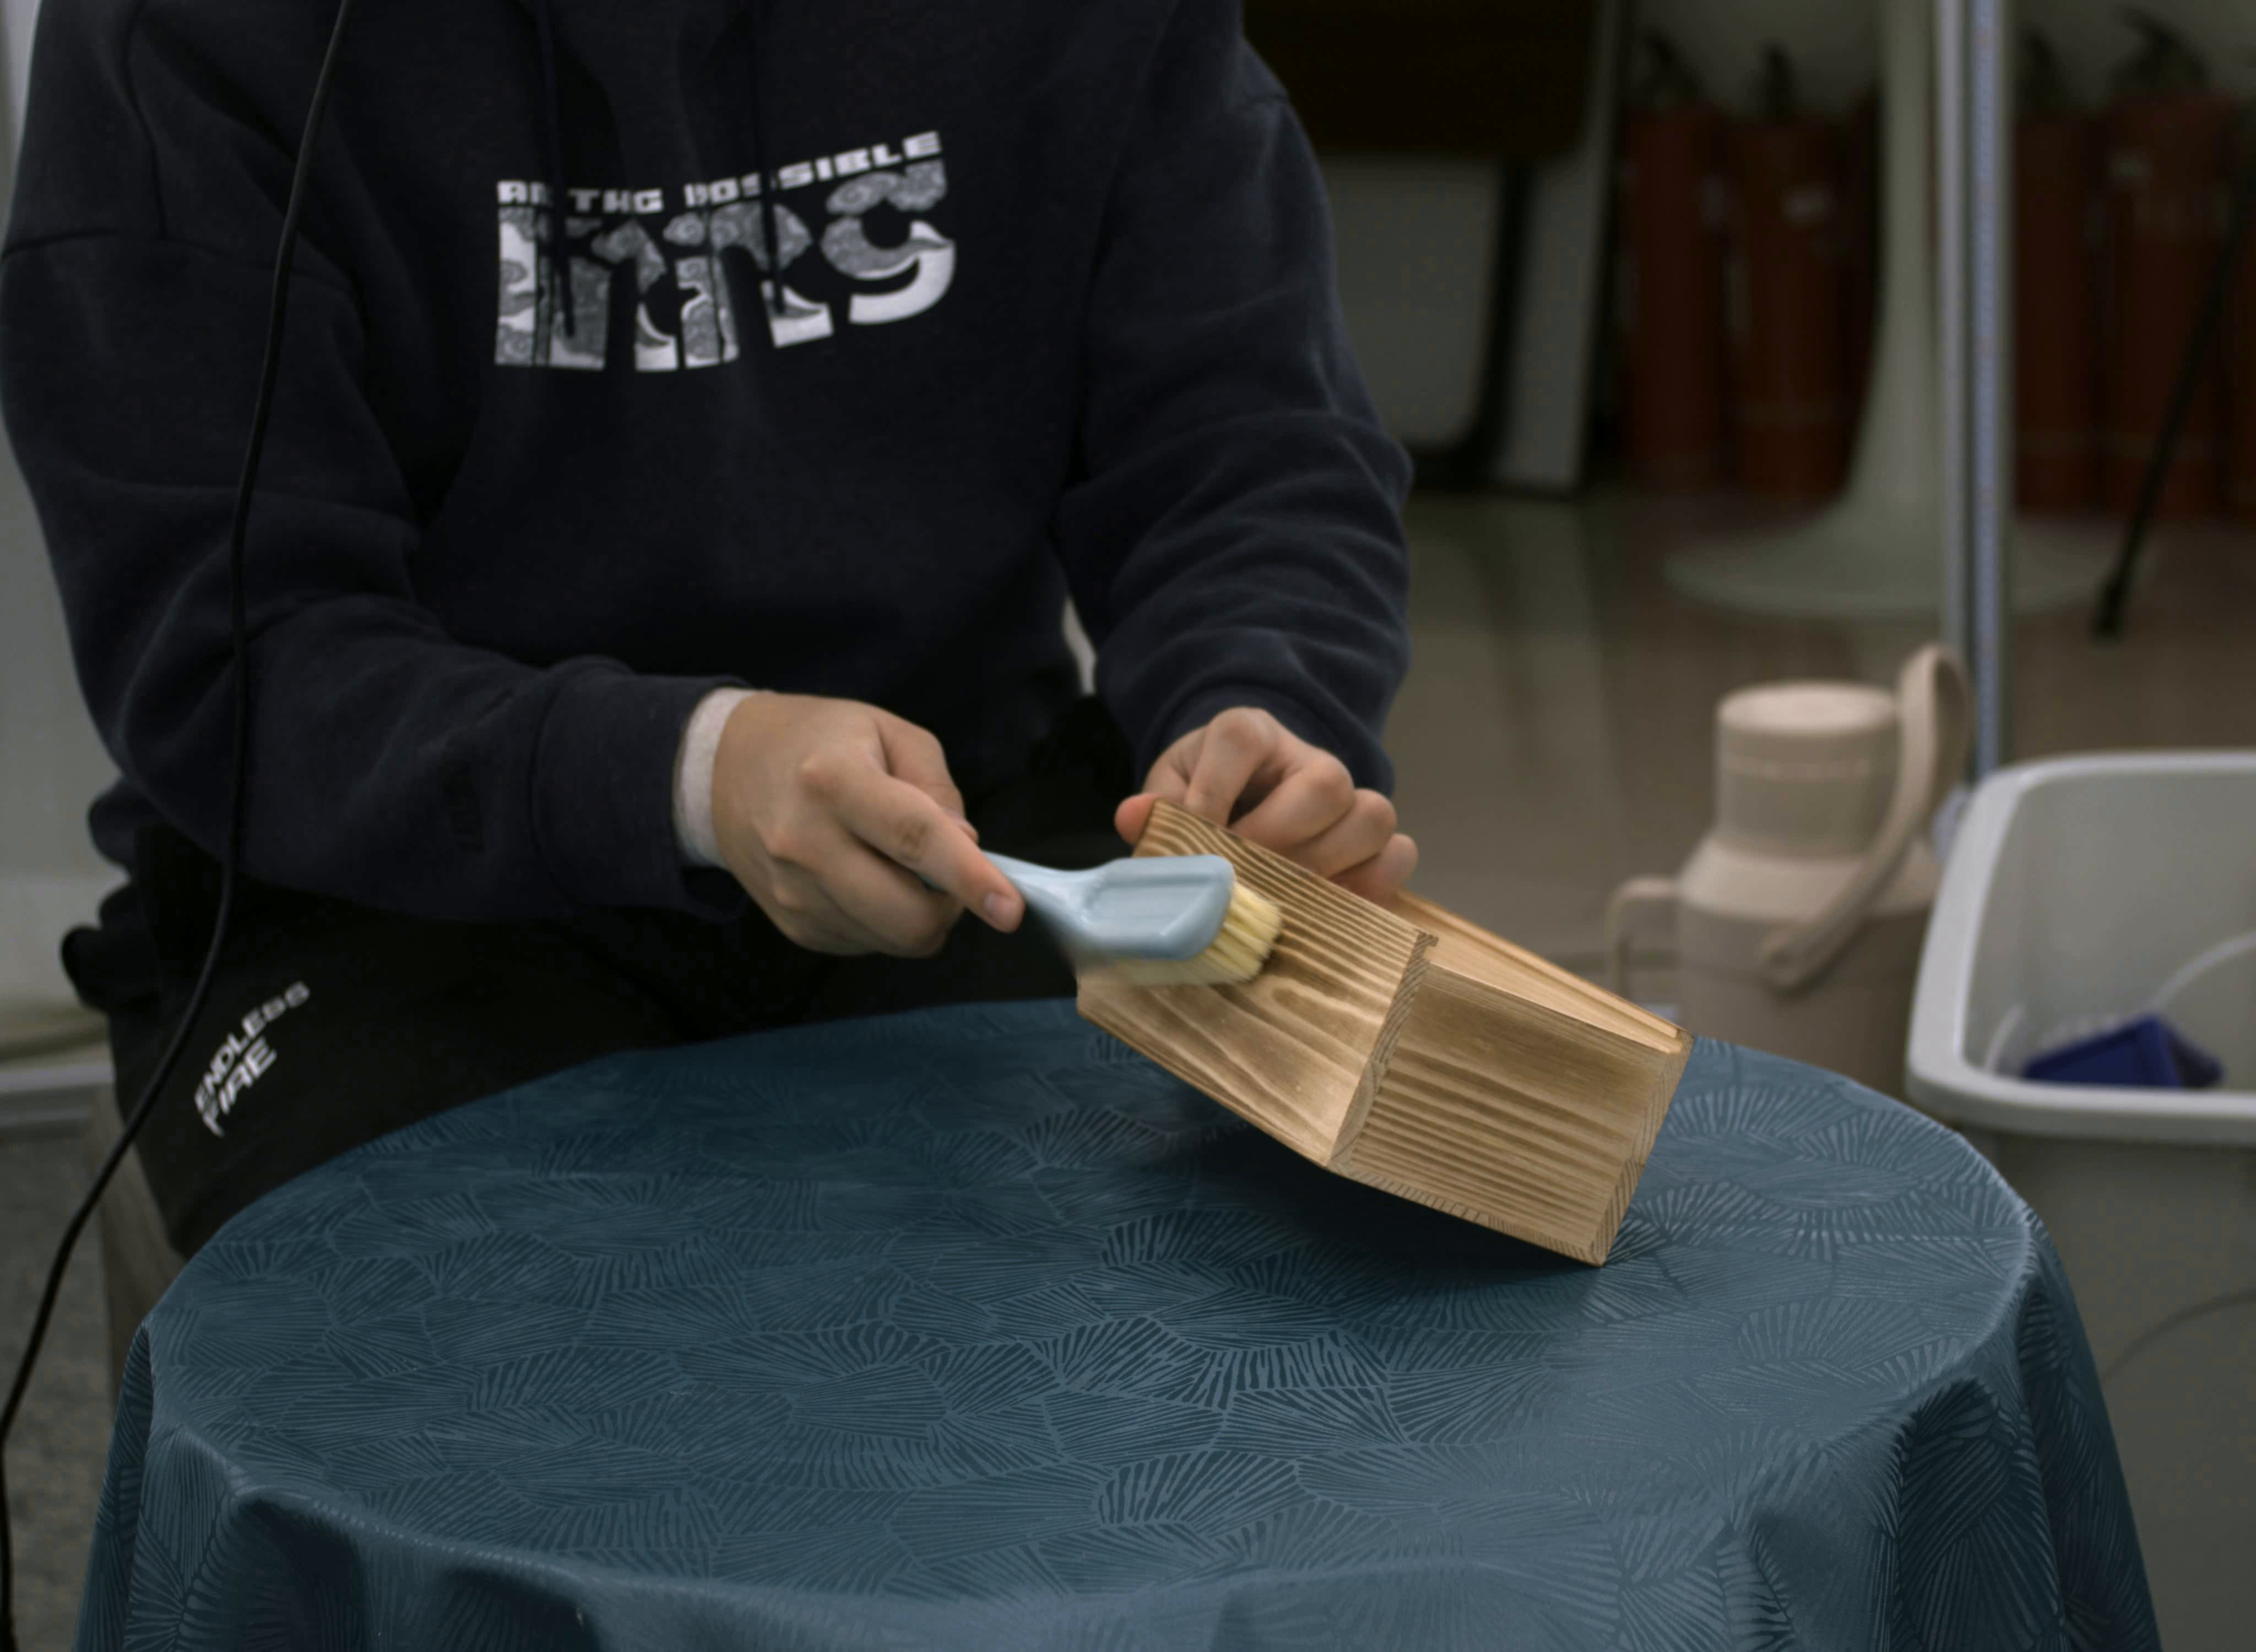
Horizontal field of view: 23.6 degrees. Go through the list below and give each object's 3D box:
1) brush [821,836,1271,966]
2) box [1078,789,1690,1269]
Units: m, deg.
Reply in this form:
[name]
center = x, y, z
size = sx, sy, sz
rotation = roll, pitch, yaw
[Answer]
[brush]
center = -0.032, 0.024, 1.787
size = 0.049, 0.038, 0.231
rotation = 29, -16, -36
[box]
center = 0.078, 0.063, 1.741
size = 0.105, 0.081, 0.213
rotation = 20, 4, -25
